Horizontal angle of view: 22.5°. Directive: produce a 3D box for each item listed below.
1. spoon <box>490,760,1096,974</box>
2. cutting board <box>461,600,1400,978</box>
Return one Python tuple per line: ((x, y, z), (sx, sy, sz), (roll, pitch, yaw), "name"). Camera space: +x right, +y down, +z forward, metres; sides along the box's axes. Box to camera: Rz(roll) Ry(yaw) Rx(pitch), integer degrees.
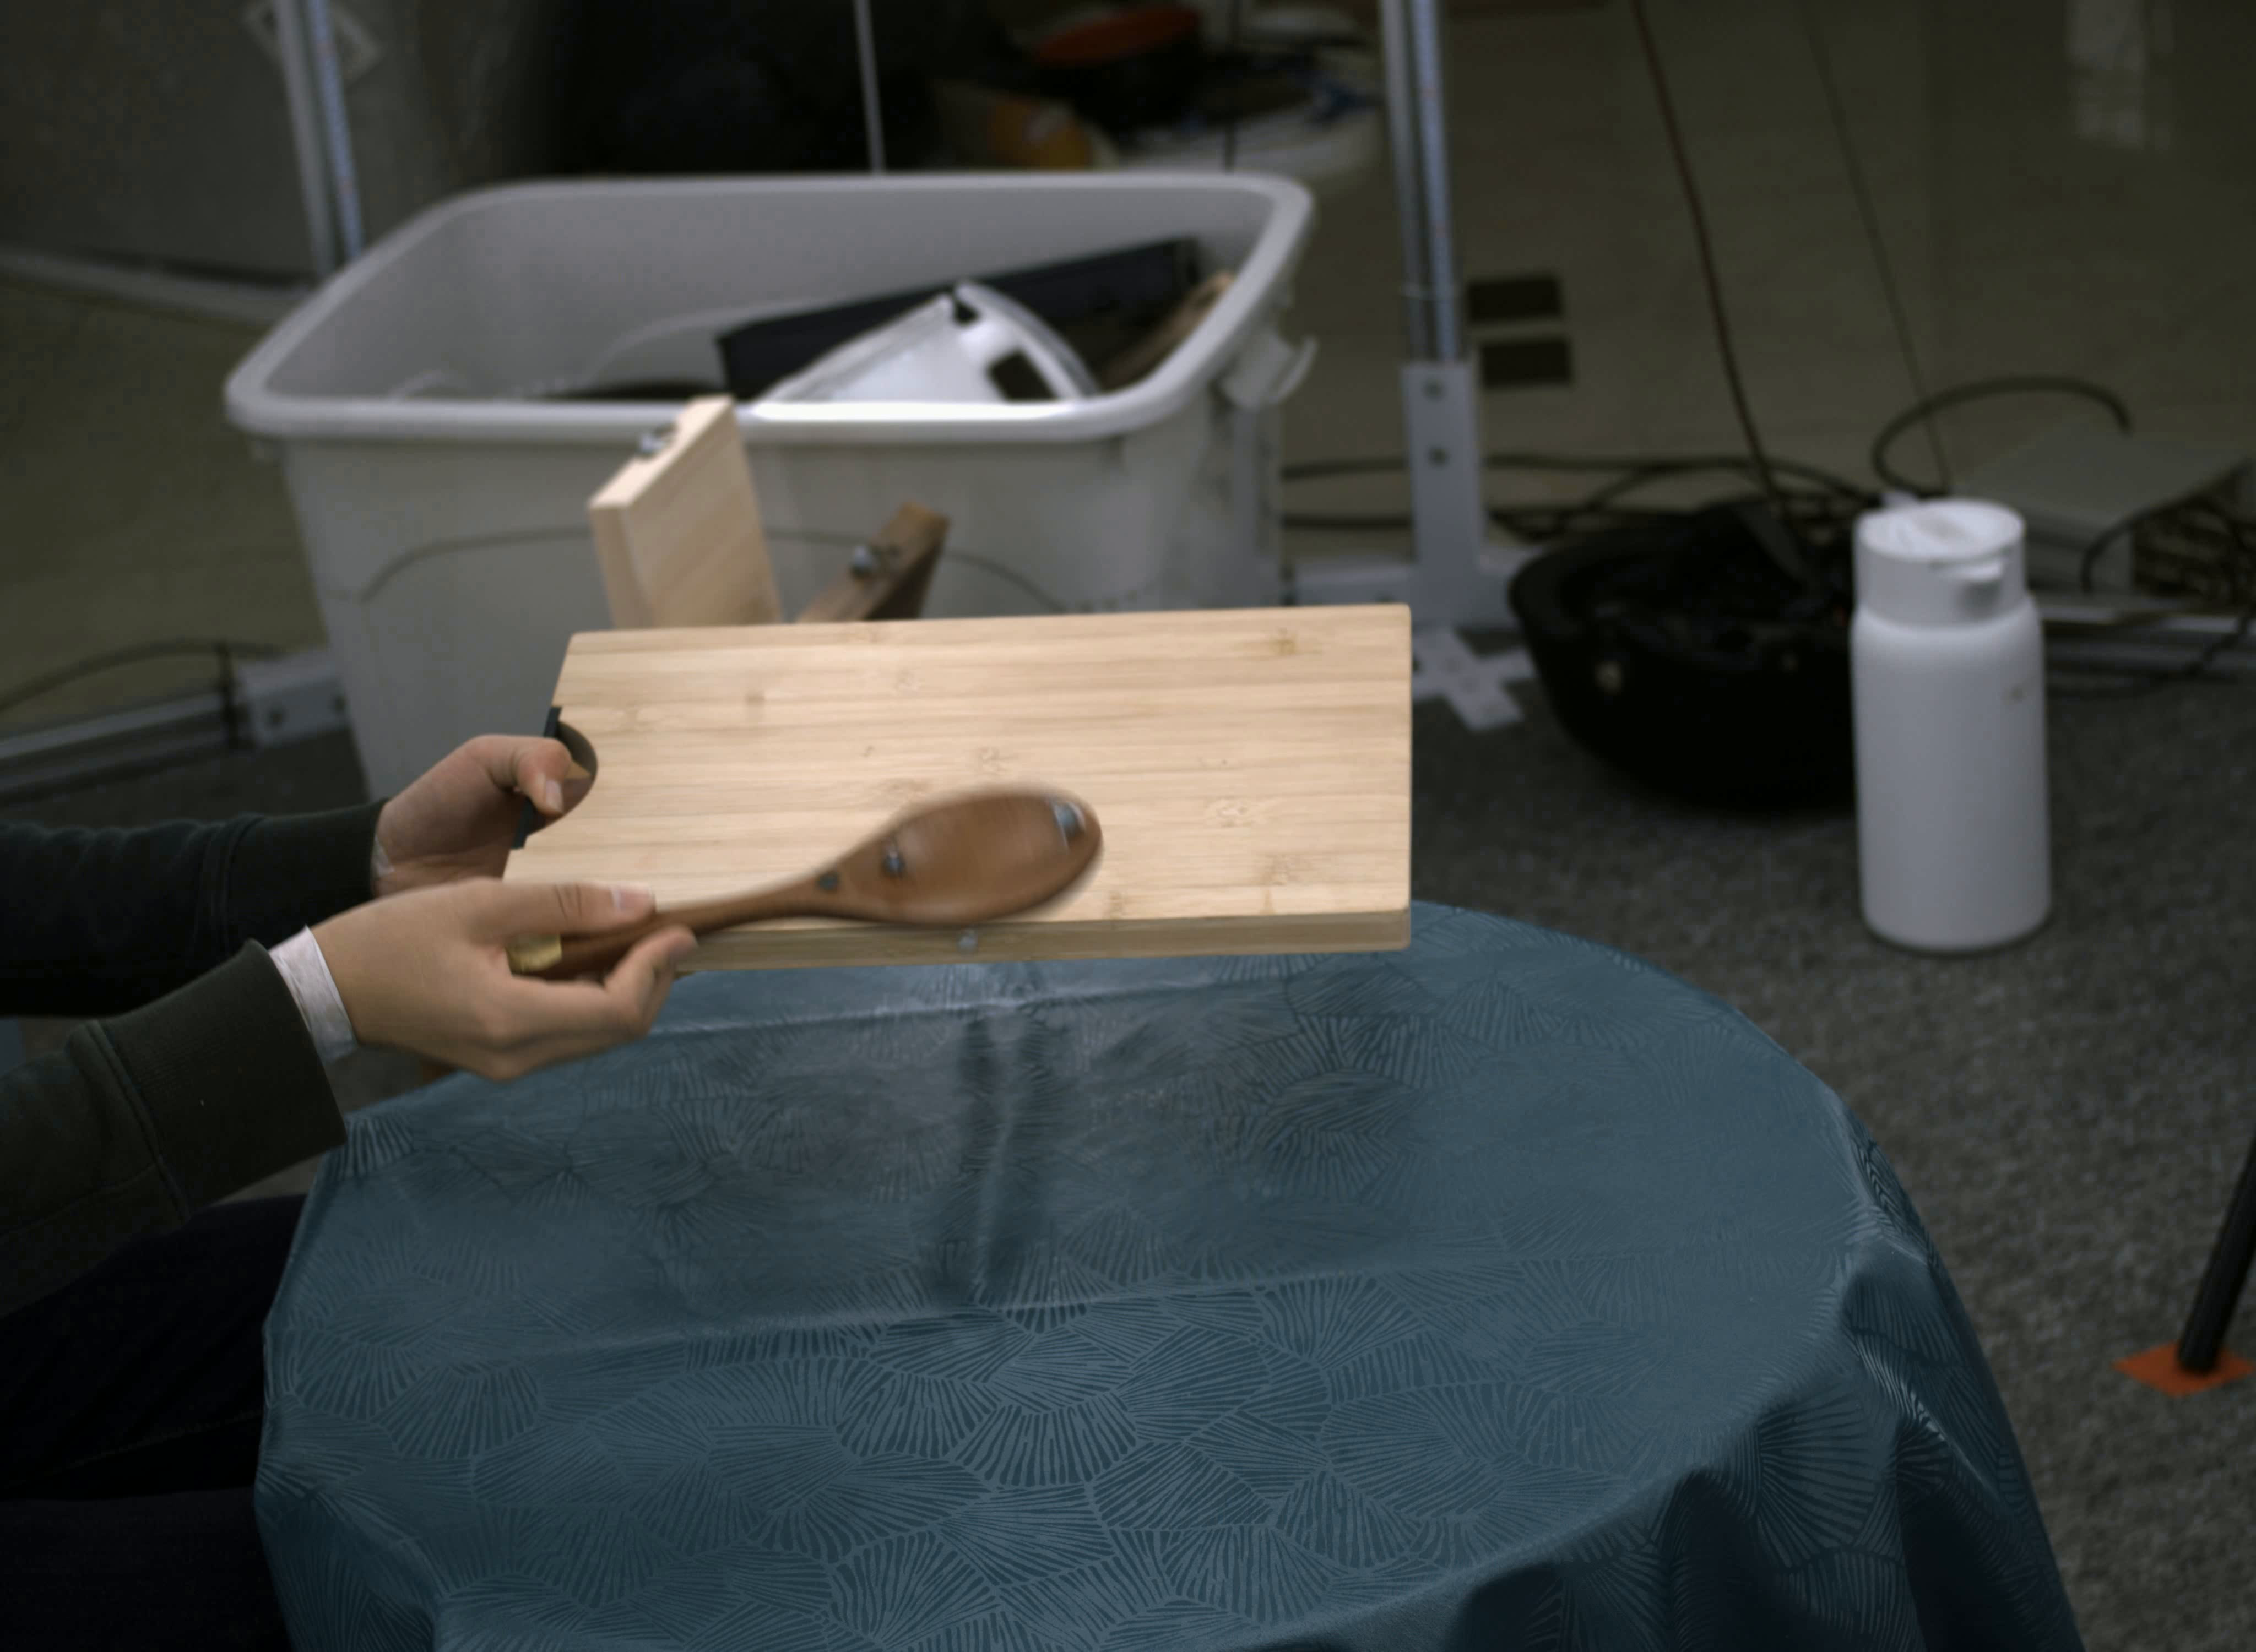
((-0.116, 0.020, 1.968), (0.215, 0.017, 0.074), (-13, 39, -2), "spoon")
((-0.068, -0.016, 2.175), (0.348, 0.024, 0.246), (-2, 30, 4), "cutting board")
